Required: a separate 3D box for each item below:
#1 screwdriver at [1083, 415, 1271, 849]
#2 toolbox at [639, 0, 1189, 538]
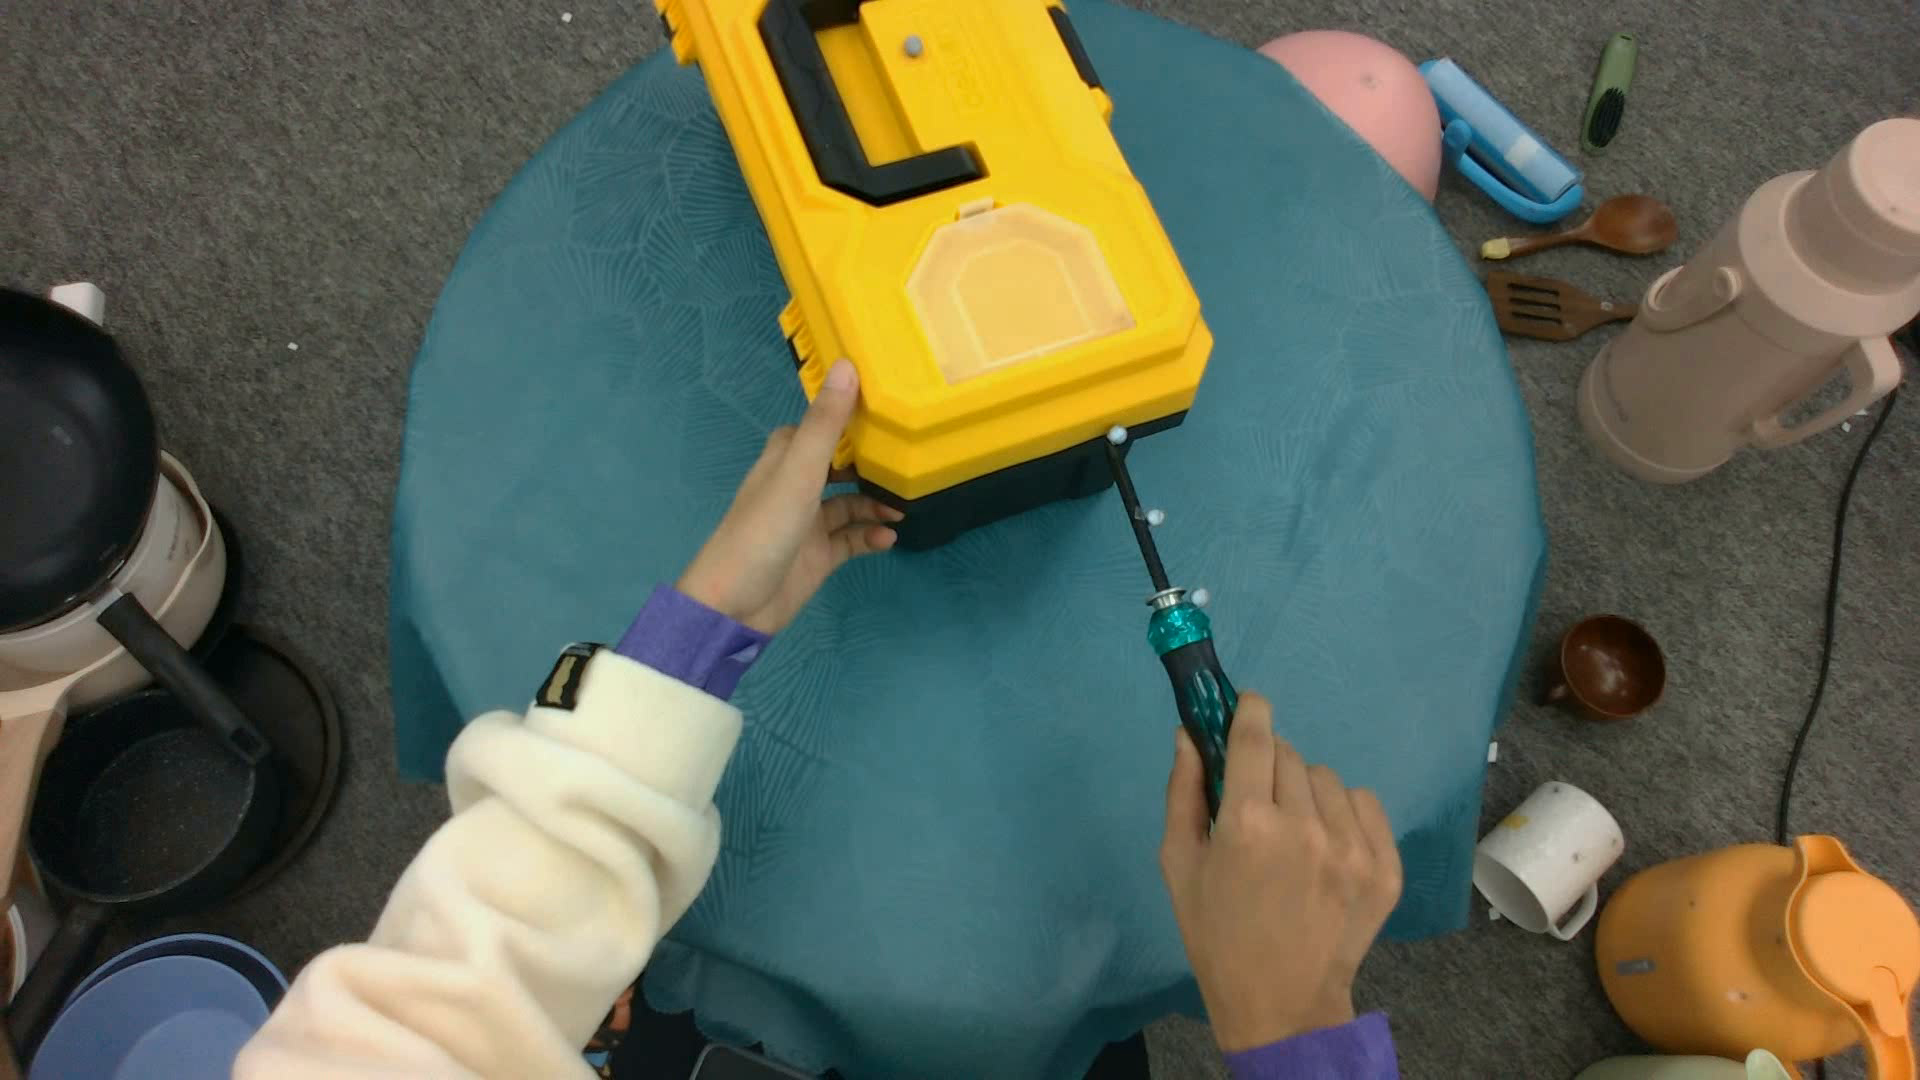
[{"bbox_3d":[0.084,0.033,0.570,0.034,0.033,0.190,-16,73,-10],"label":"screwdriver"},{"bbox_3d":[-0.037,-0.186,0.684,0.181,0.172,0.352,-19,71,-11],"label":"toolbox"}]
